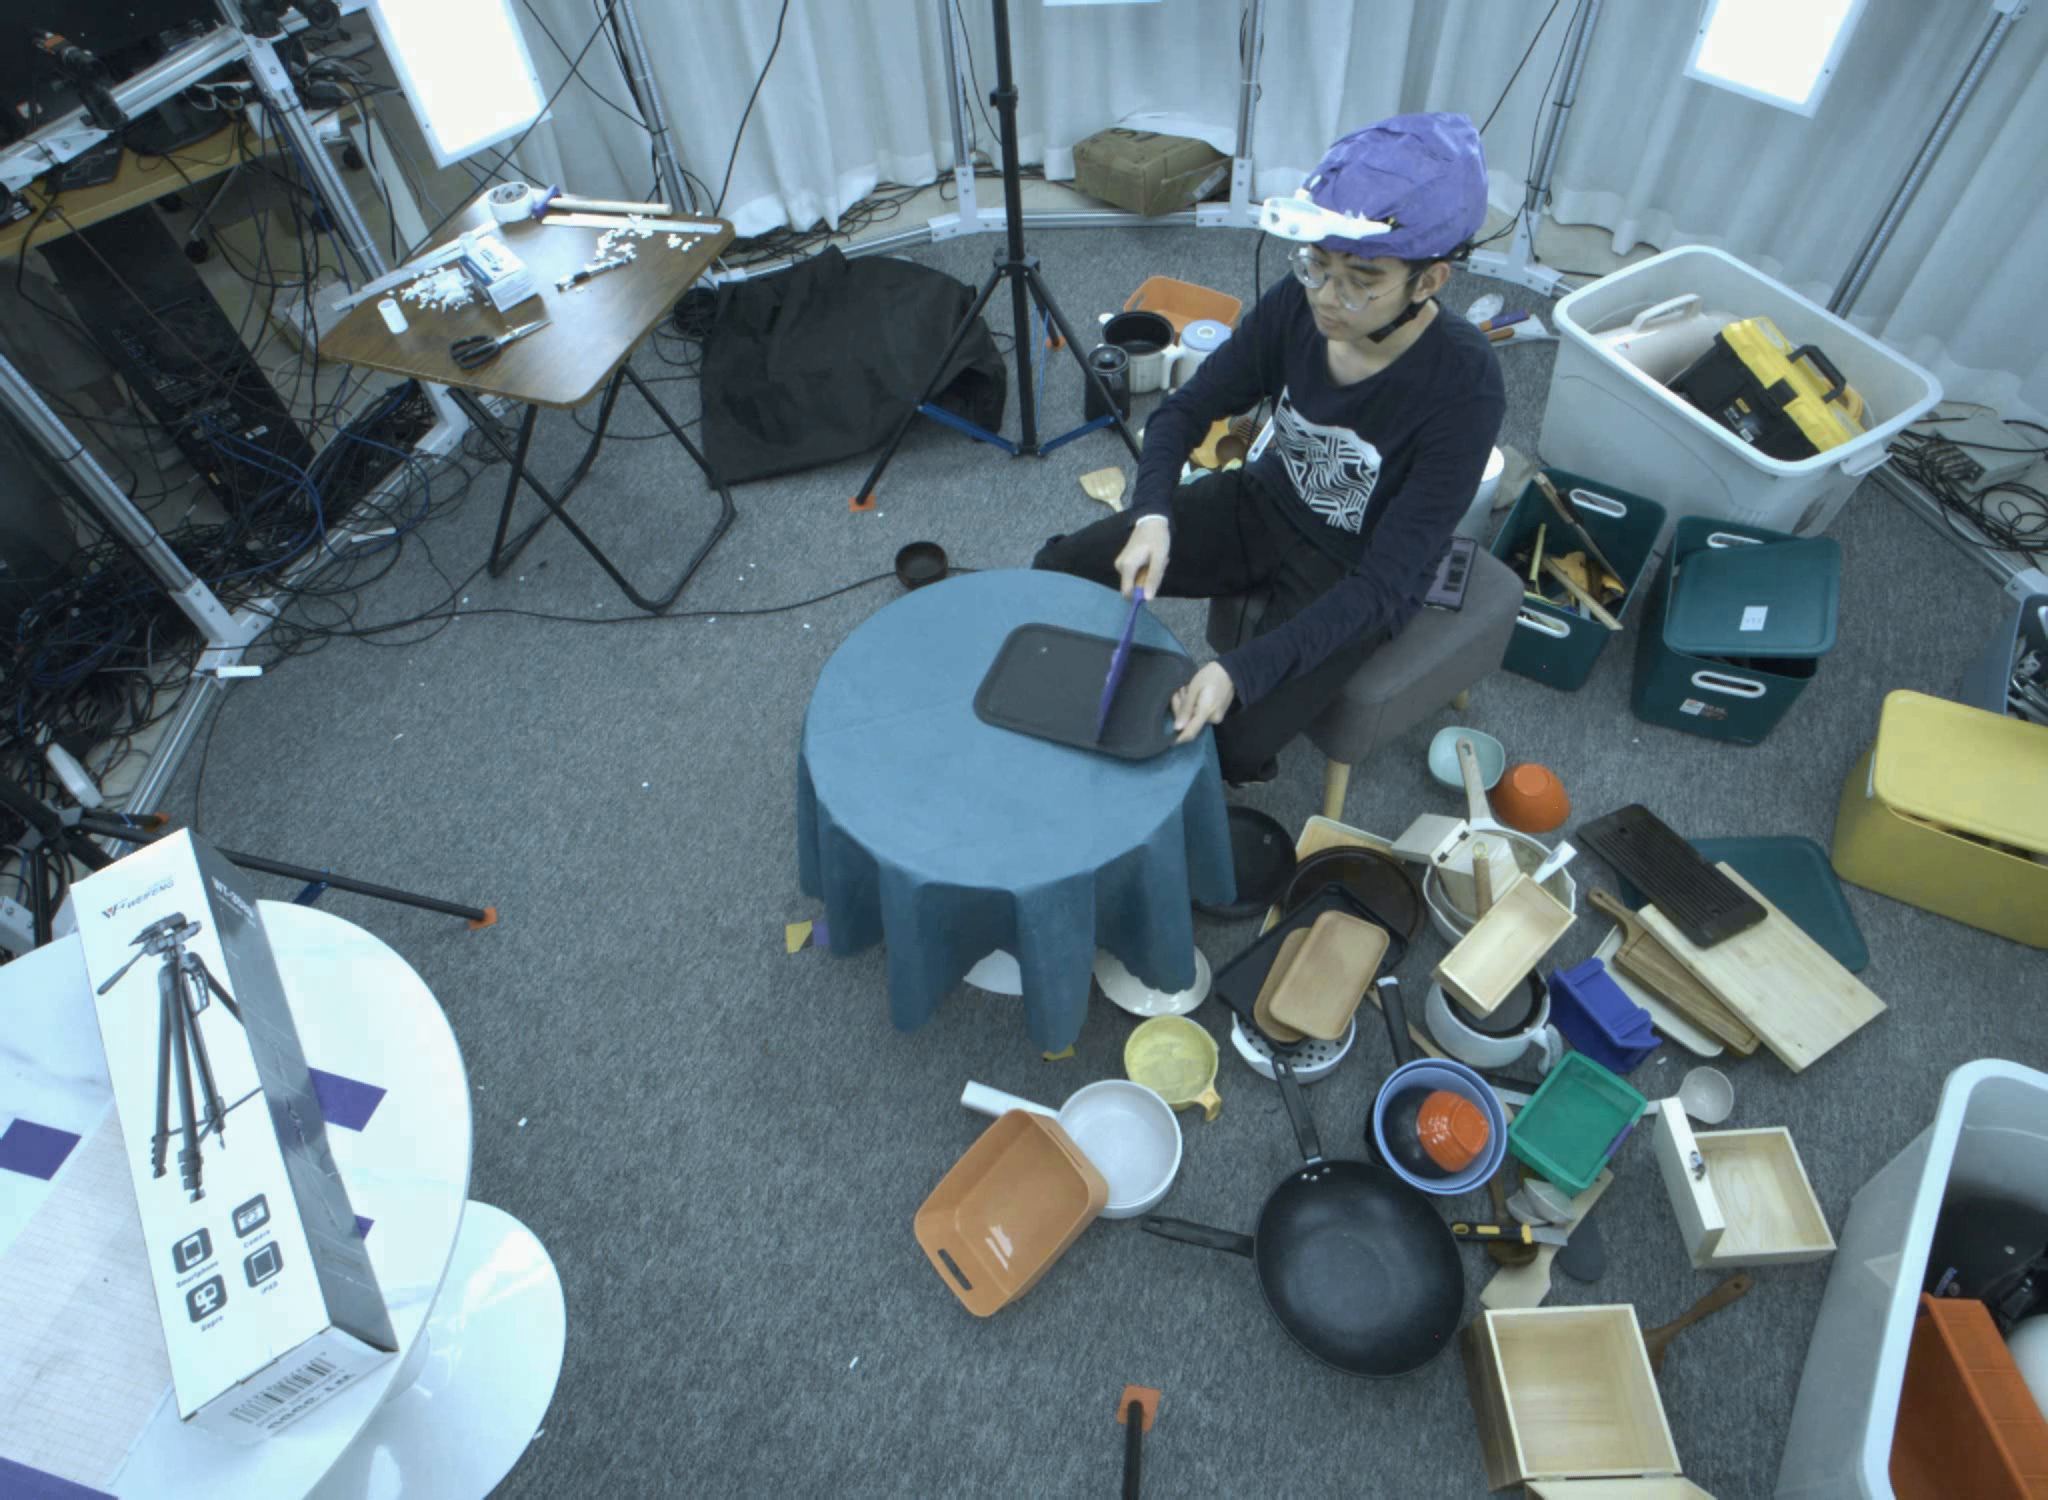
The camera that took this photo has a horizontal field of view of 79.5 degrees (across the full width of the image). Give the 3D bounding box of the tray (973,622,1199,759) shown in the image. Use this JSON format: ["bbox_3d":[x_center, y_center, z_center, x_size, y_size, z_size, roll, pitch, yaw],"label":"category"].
[{"bbox_3d":[0.098,-0.093,1.843,0.321,0.010,0.211,15,57,17],"label":"tray"}]

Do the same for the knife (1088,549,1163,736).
[{"bbox_3d":[0.146,-0.162,1.827,0.032,0.104,0.315,18,57,8],"label":"knife"}]
